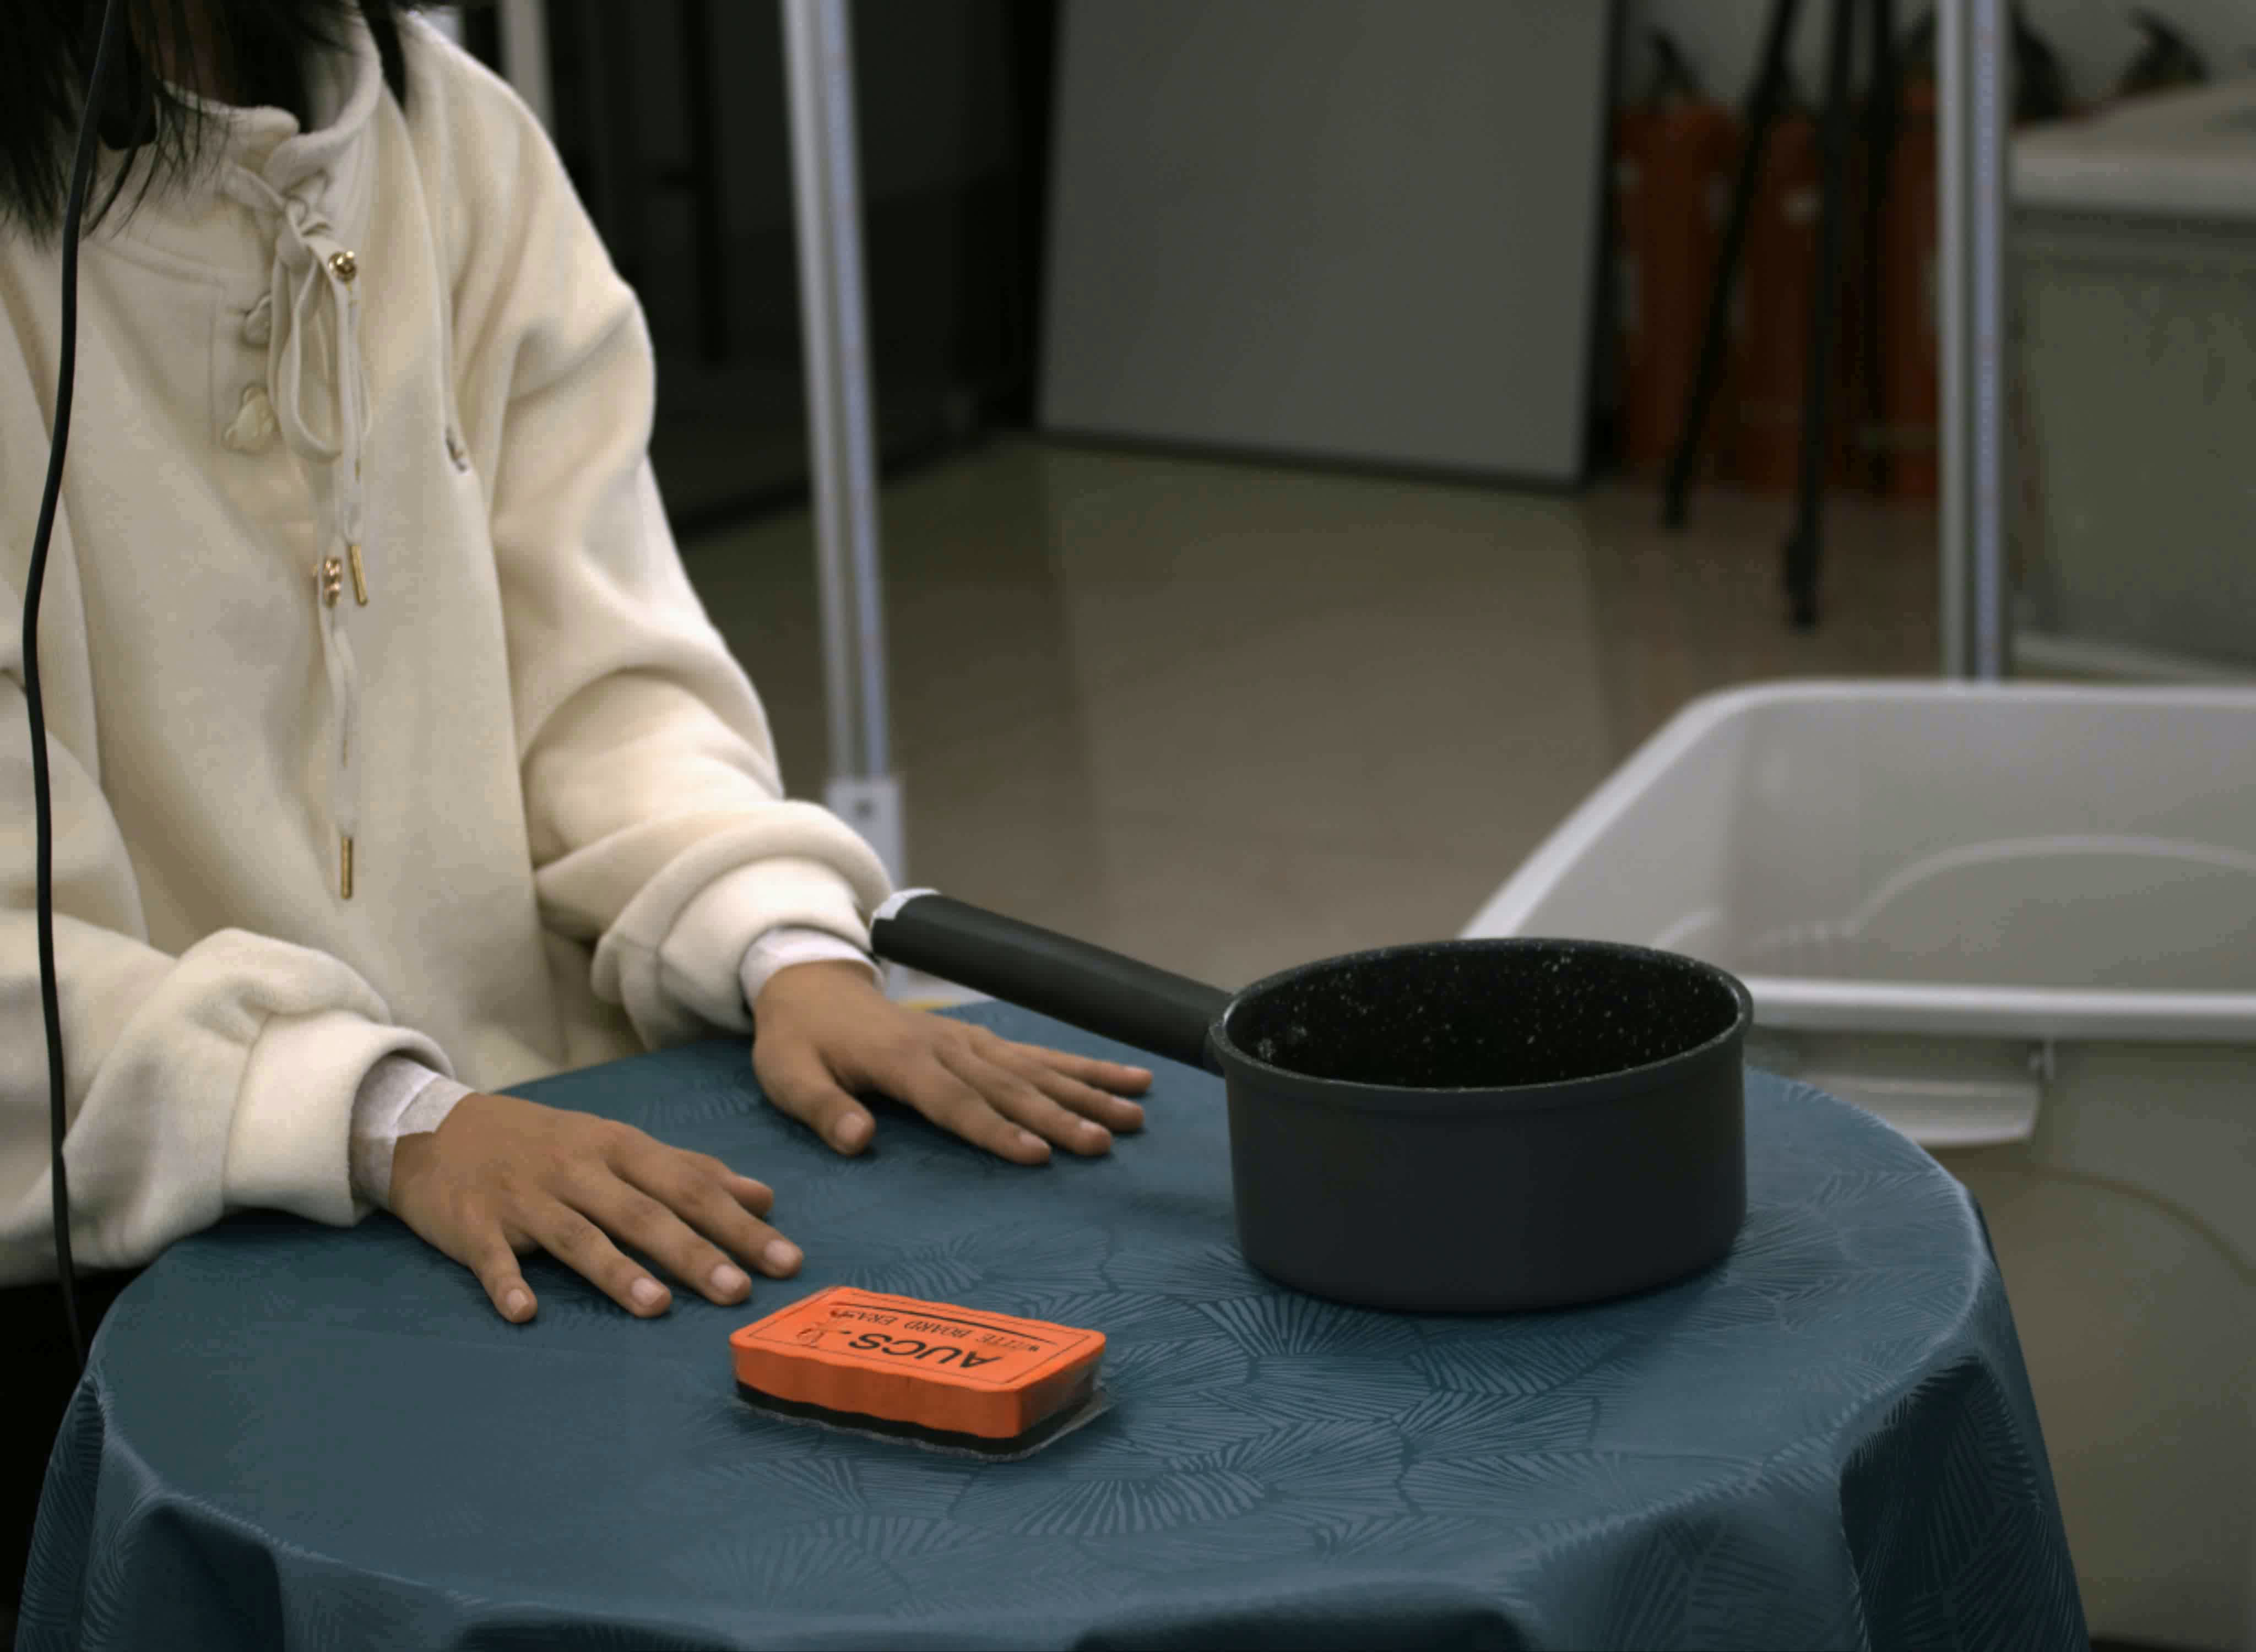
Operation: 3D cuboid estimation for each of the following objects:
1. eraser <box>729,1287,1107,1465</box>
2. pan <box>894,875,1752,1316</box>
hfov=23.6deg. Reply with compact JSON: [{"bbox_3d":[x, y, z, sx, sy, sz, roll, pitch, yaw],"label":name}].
[{"bbox_3d":[-0.061,0.160,1.580,0.109,0.023,0.058,6,18,37],"label":"eraser"},{"bbox_3d":[0.052,0.081,1.741,0.331,0.087,0.168,9,18,40],"label":"pan"}]
